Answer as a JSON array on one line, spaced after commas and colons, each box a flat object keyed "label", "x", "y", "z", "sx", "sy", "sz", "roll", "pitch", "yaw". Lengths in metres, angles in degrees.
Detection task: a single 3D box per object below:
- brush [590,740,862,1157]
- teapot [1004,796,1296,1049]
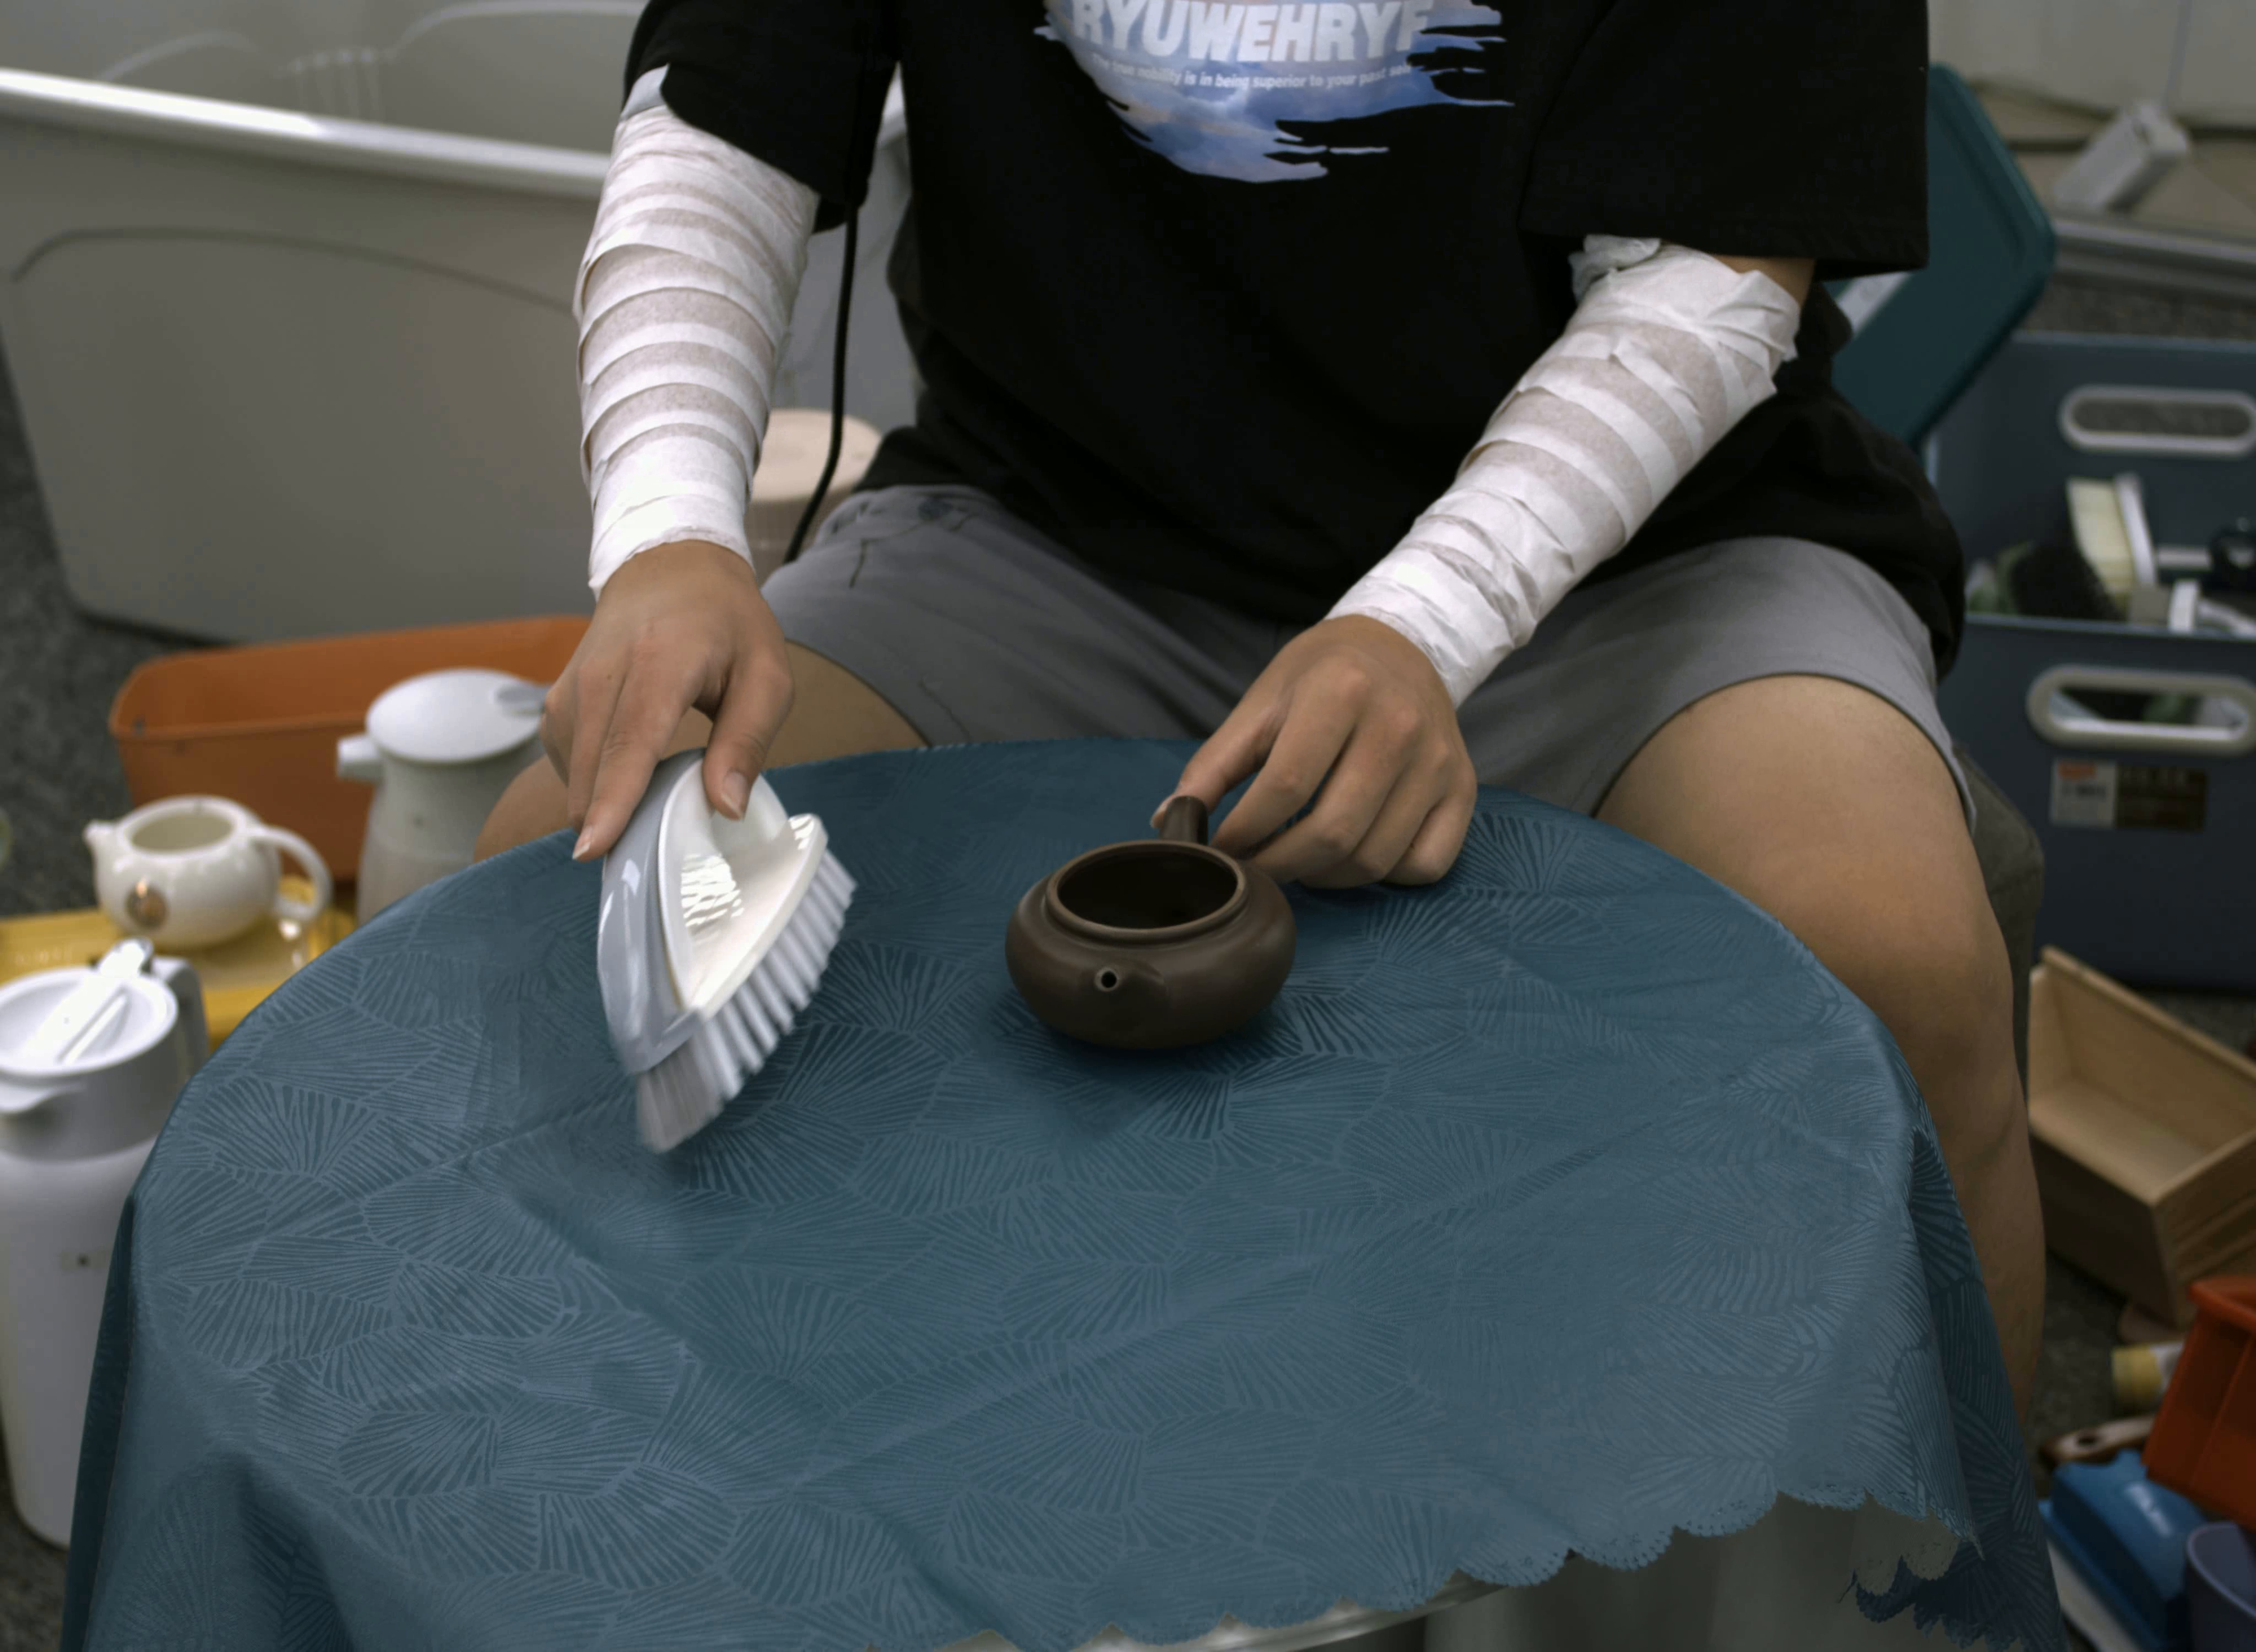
[{"label": "brush", "x": -0.150, "y": 0.034, "z": 1.933, "sx": 0.061, "sy": 0.093, "sz": 0.179, "roll": -17, "pitch": 24, "yaw": 23}, {"label": "teapot", "x": 0.008, "y": 0.037, "z": 1.966, "sx": 0.102, "sy": 0.053, "sz": 0.156, "roll": 1, "pitch": 27, "yaw": 5}]
